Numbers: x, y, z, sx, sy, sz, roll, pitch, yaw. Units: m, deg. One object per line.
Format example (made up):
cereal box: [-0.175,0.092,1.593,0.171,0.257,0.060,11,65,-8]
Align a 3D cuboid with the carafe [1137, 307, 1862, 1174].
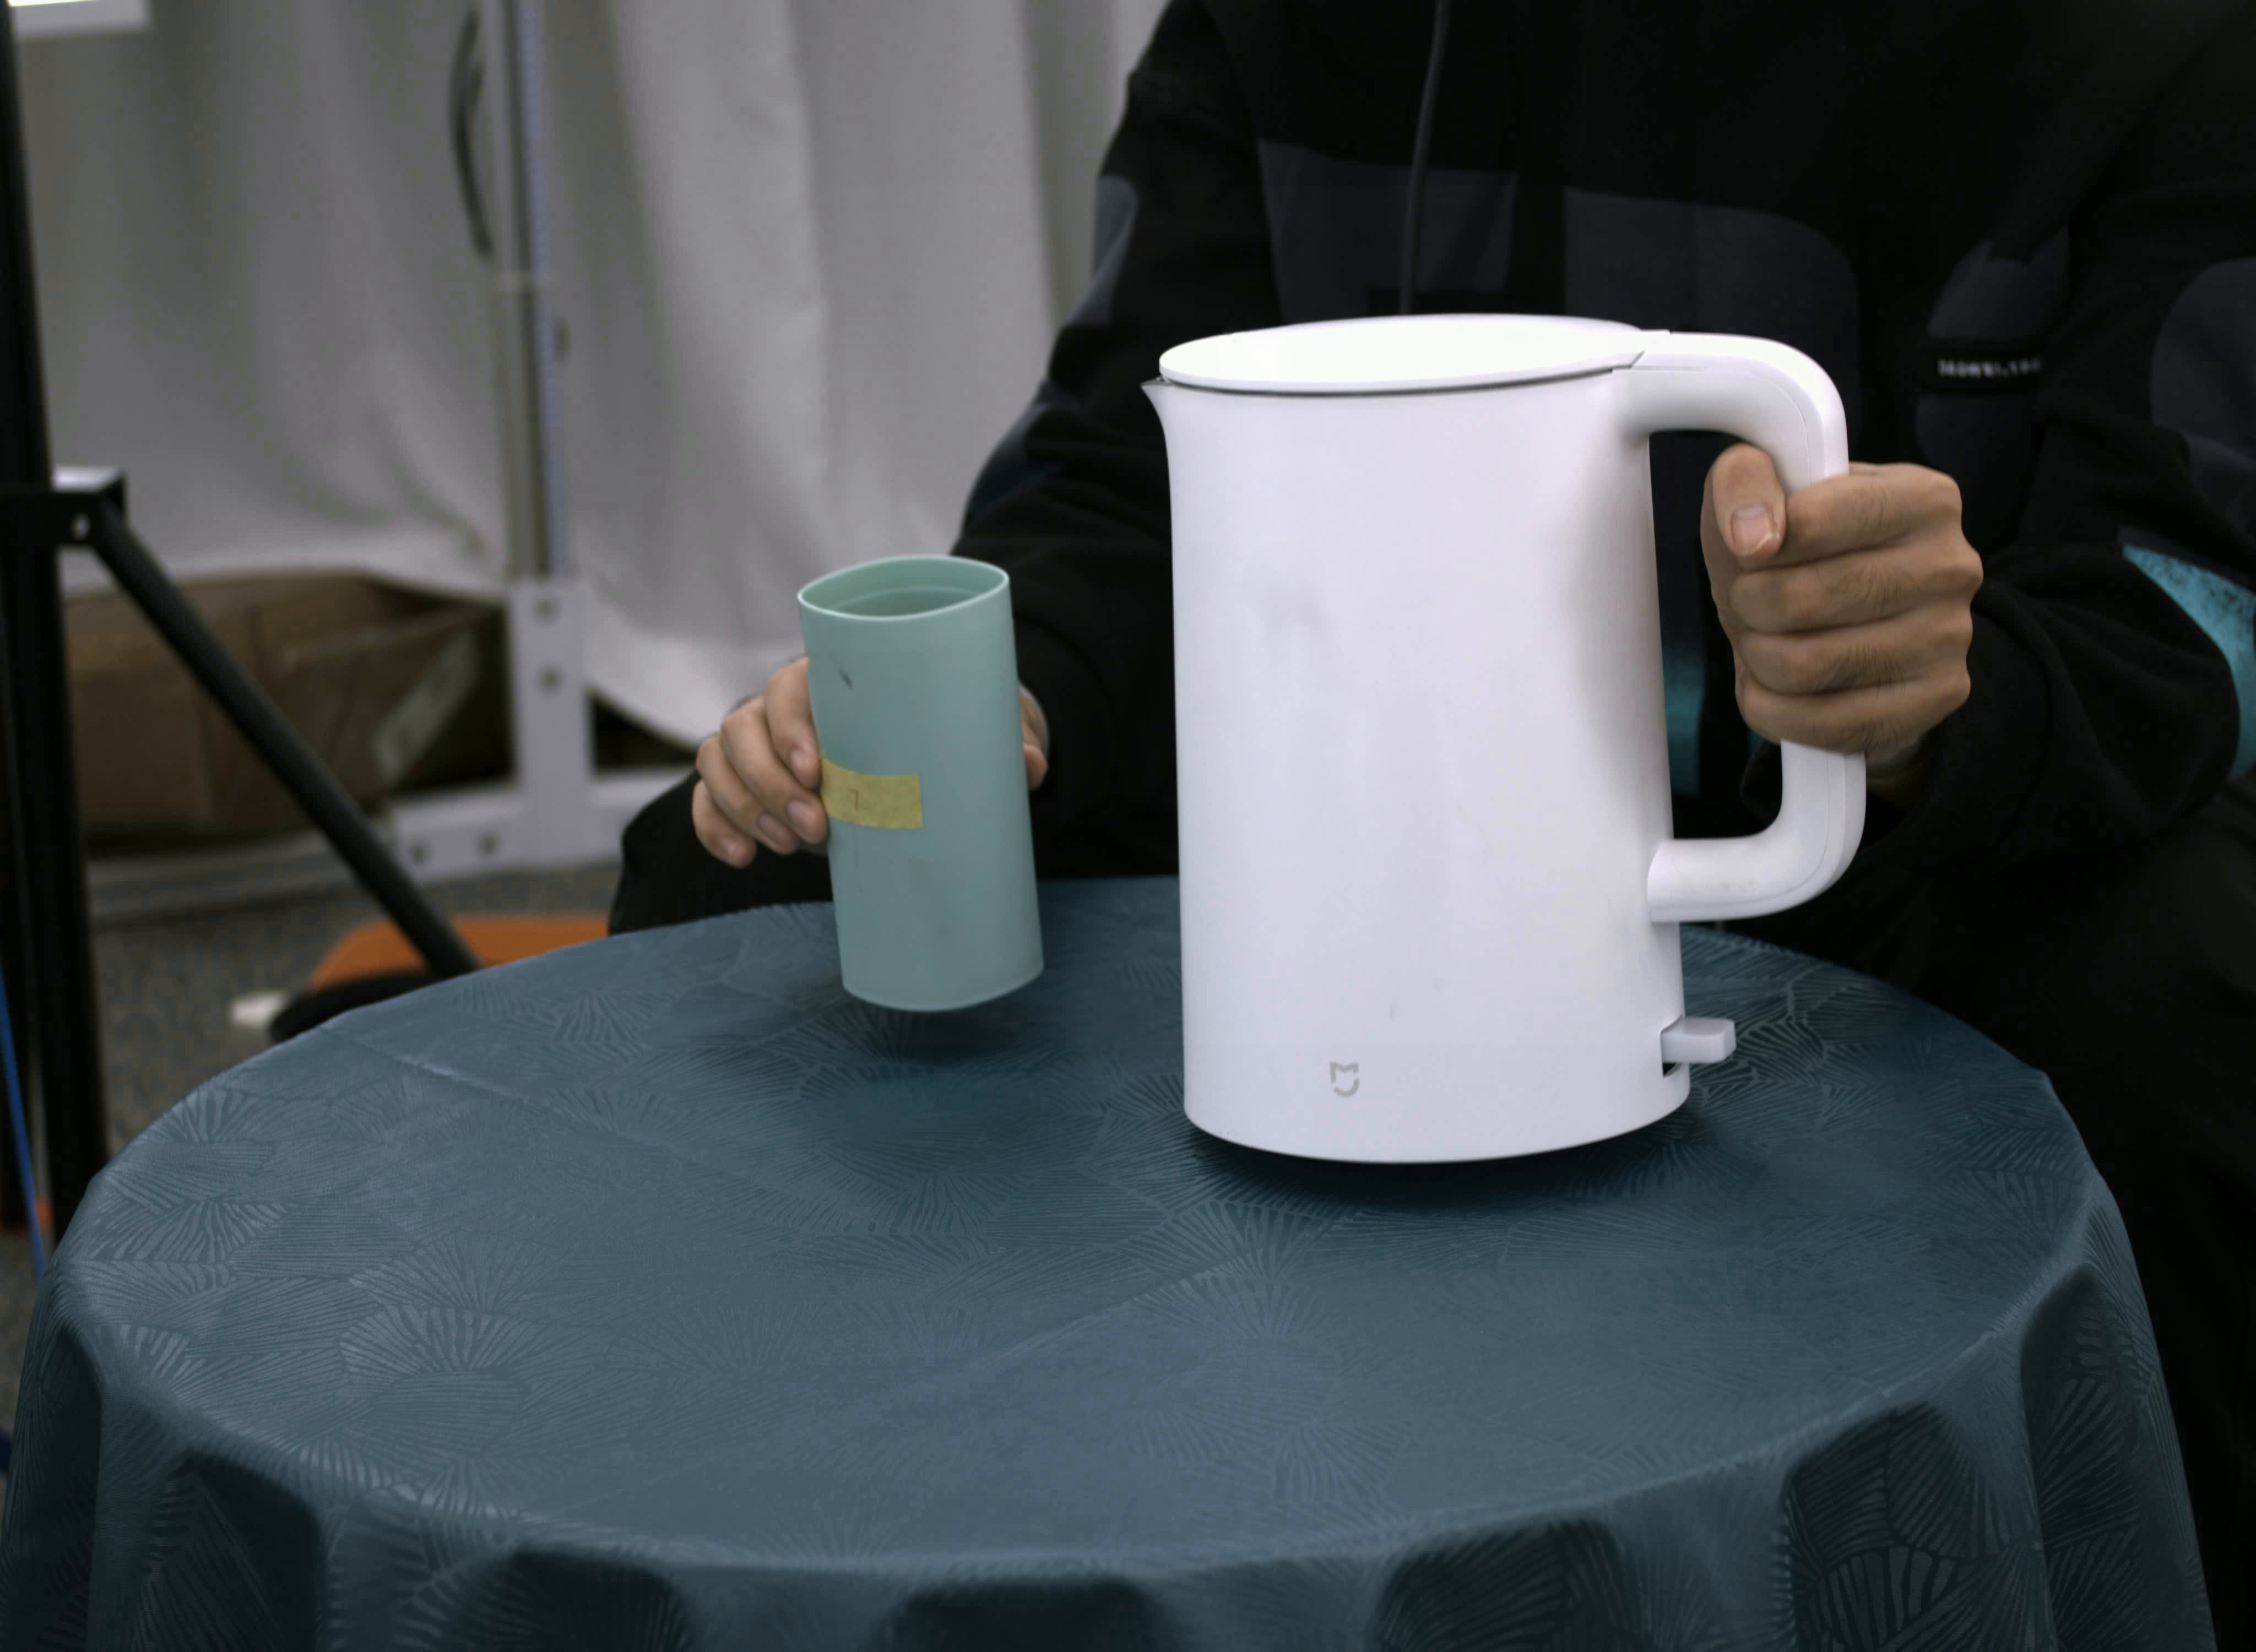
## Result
carafe: [0.109,-0.027,1.563,0.216,0.240,0.150,1,13,23]

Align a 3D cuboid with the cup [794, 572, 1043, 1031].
cup: [-0.064,-0.009,1.682,0.066,0.132,0.067,-6,18,1]
